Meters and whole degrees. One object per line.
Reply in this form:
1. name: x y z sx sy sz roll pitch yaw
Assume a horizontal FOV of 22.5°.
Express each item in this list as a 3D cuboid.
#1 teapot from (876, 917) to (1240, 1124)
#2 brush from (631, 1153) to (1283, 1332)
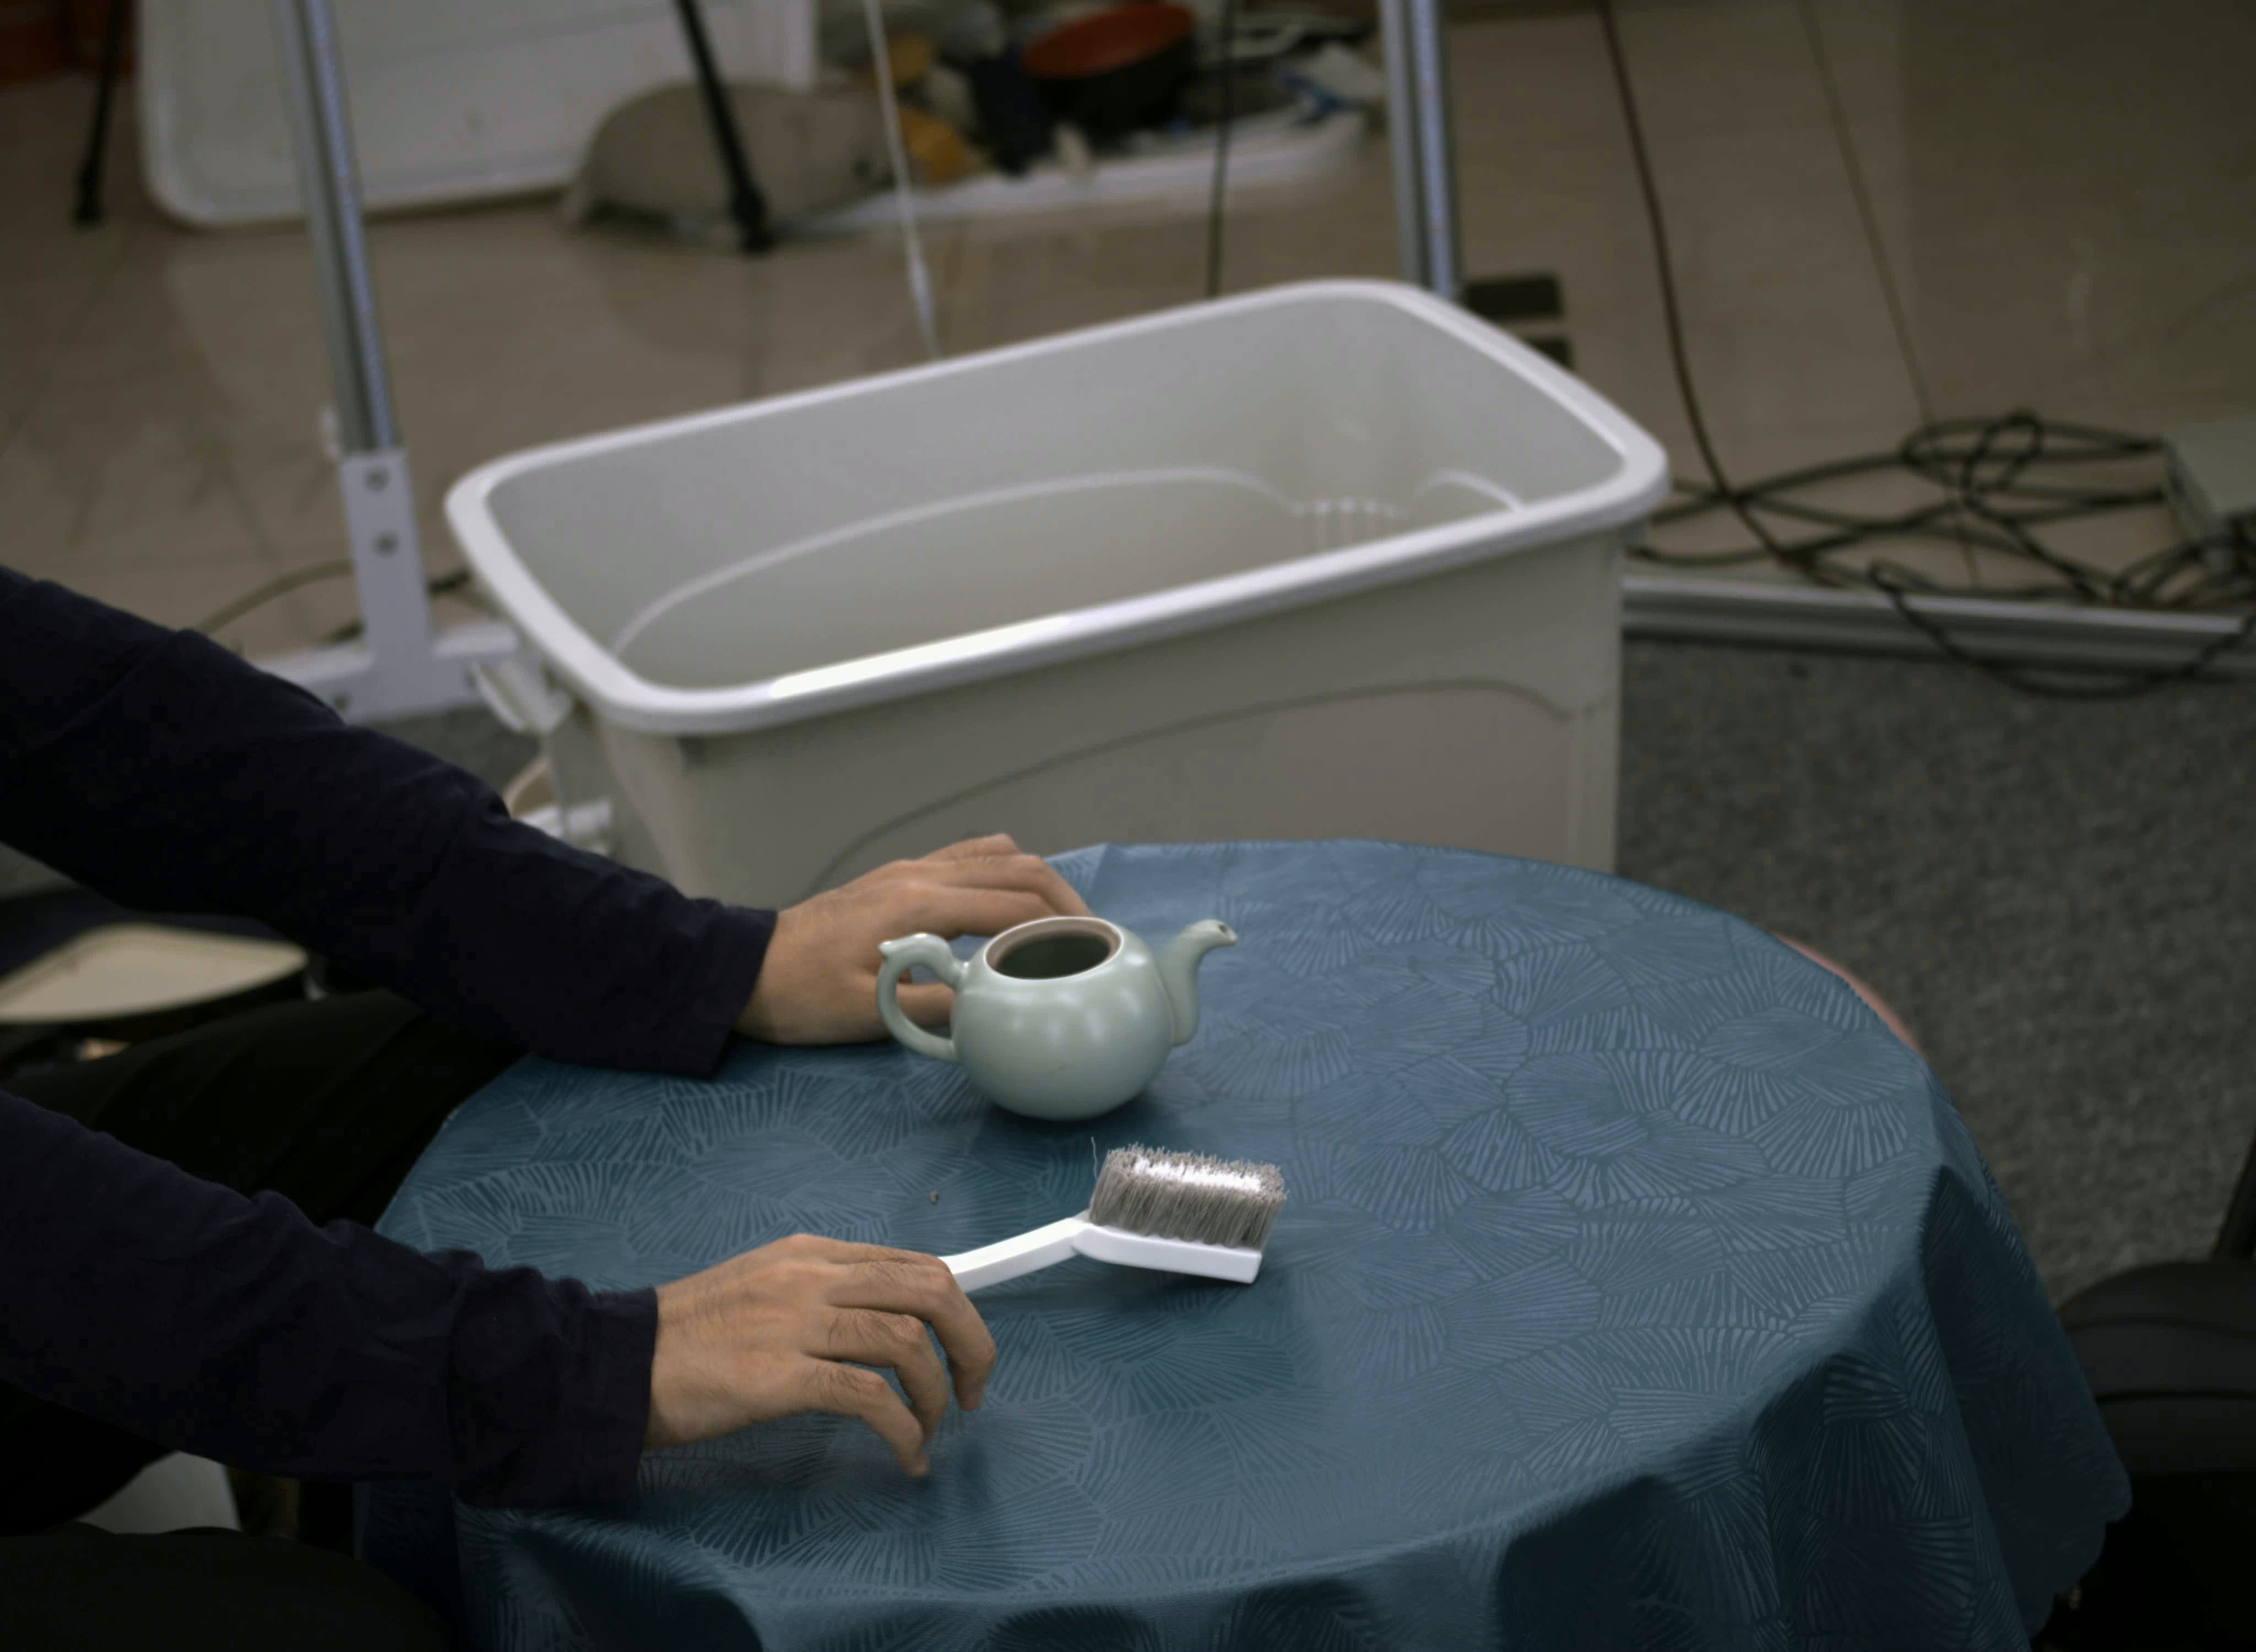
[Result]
1. teapot: -0.025 0.074 2.207 0.143 0.076 0.087 -2 27 7
2. brush: -0.064 0.152 2.078 0.243 0.051 0.034 -5 30 2
